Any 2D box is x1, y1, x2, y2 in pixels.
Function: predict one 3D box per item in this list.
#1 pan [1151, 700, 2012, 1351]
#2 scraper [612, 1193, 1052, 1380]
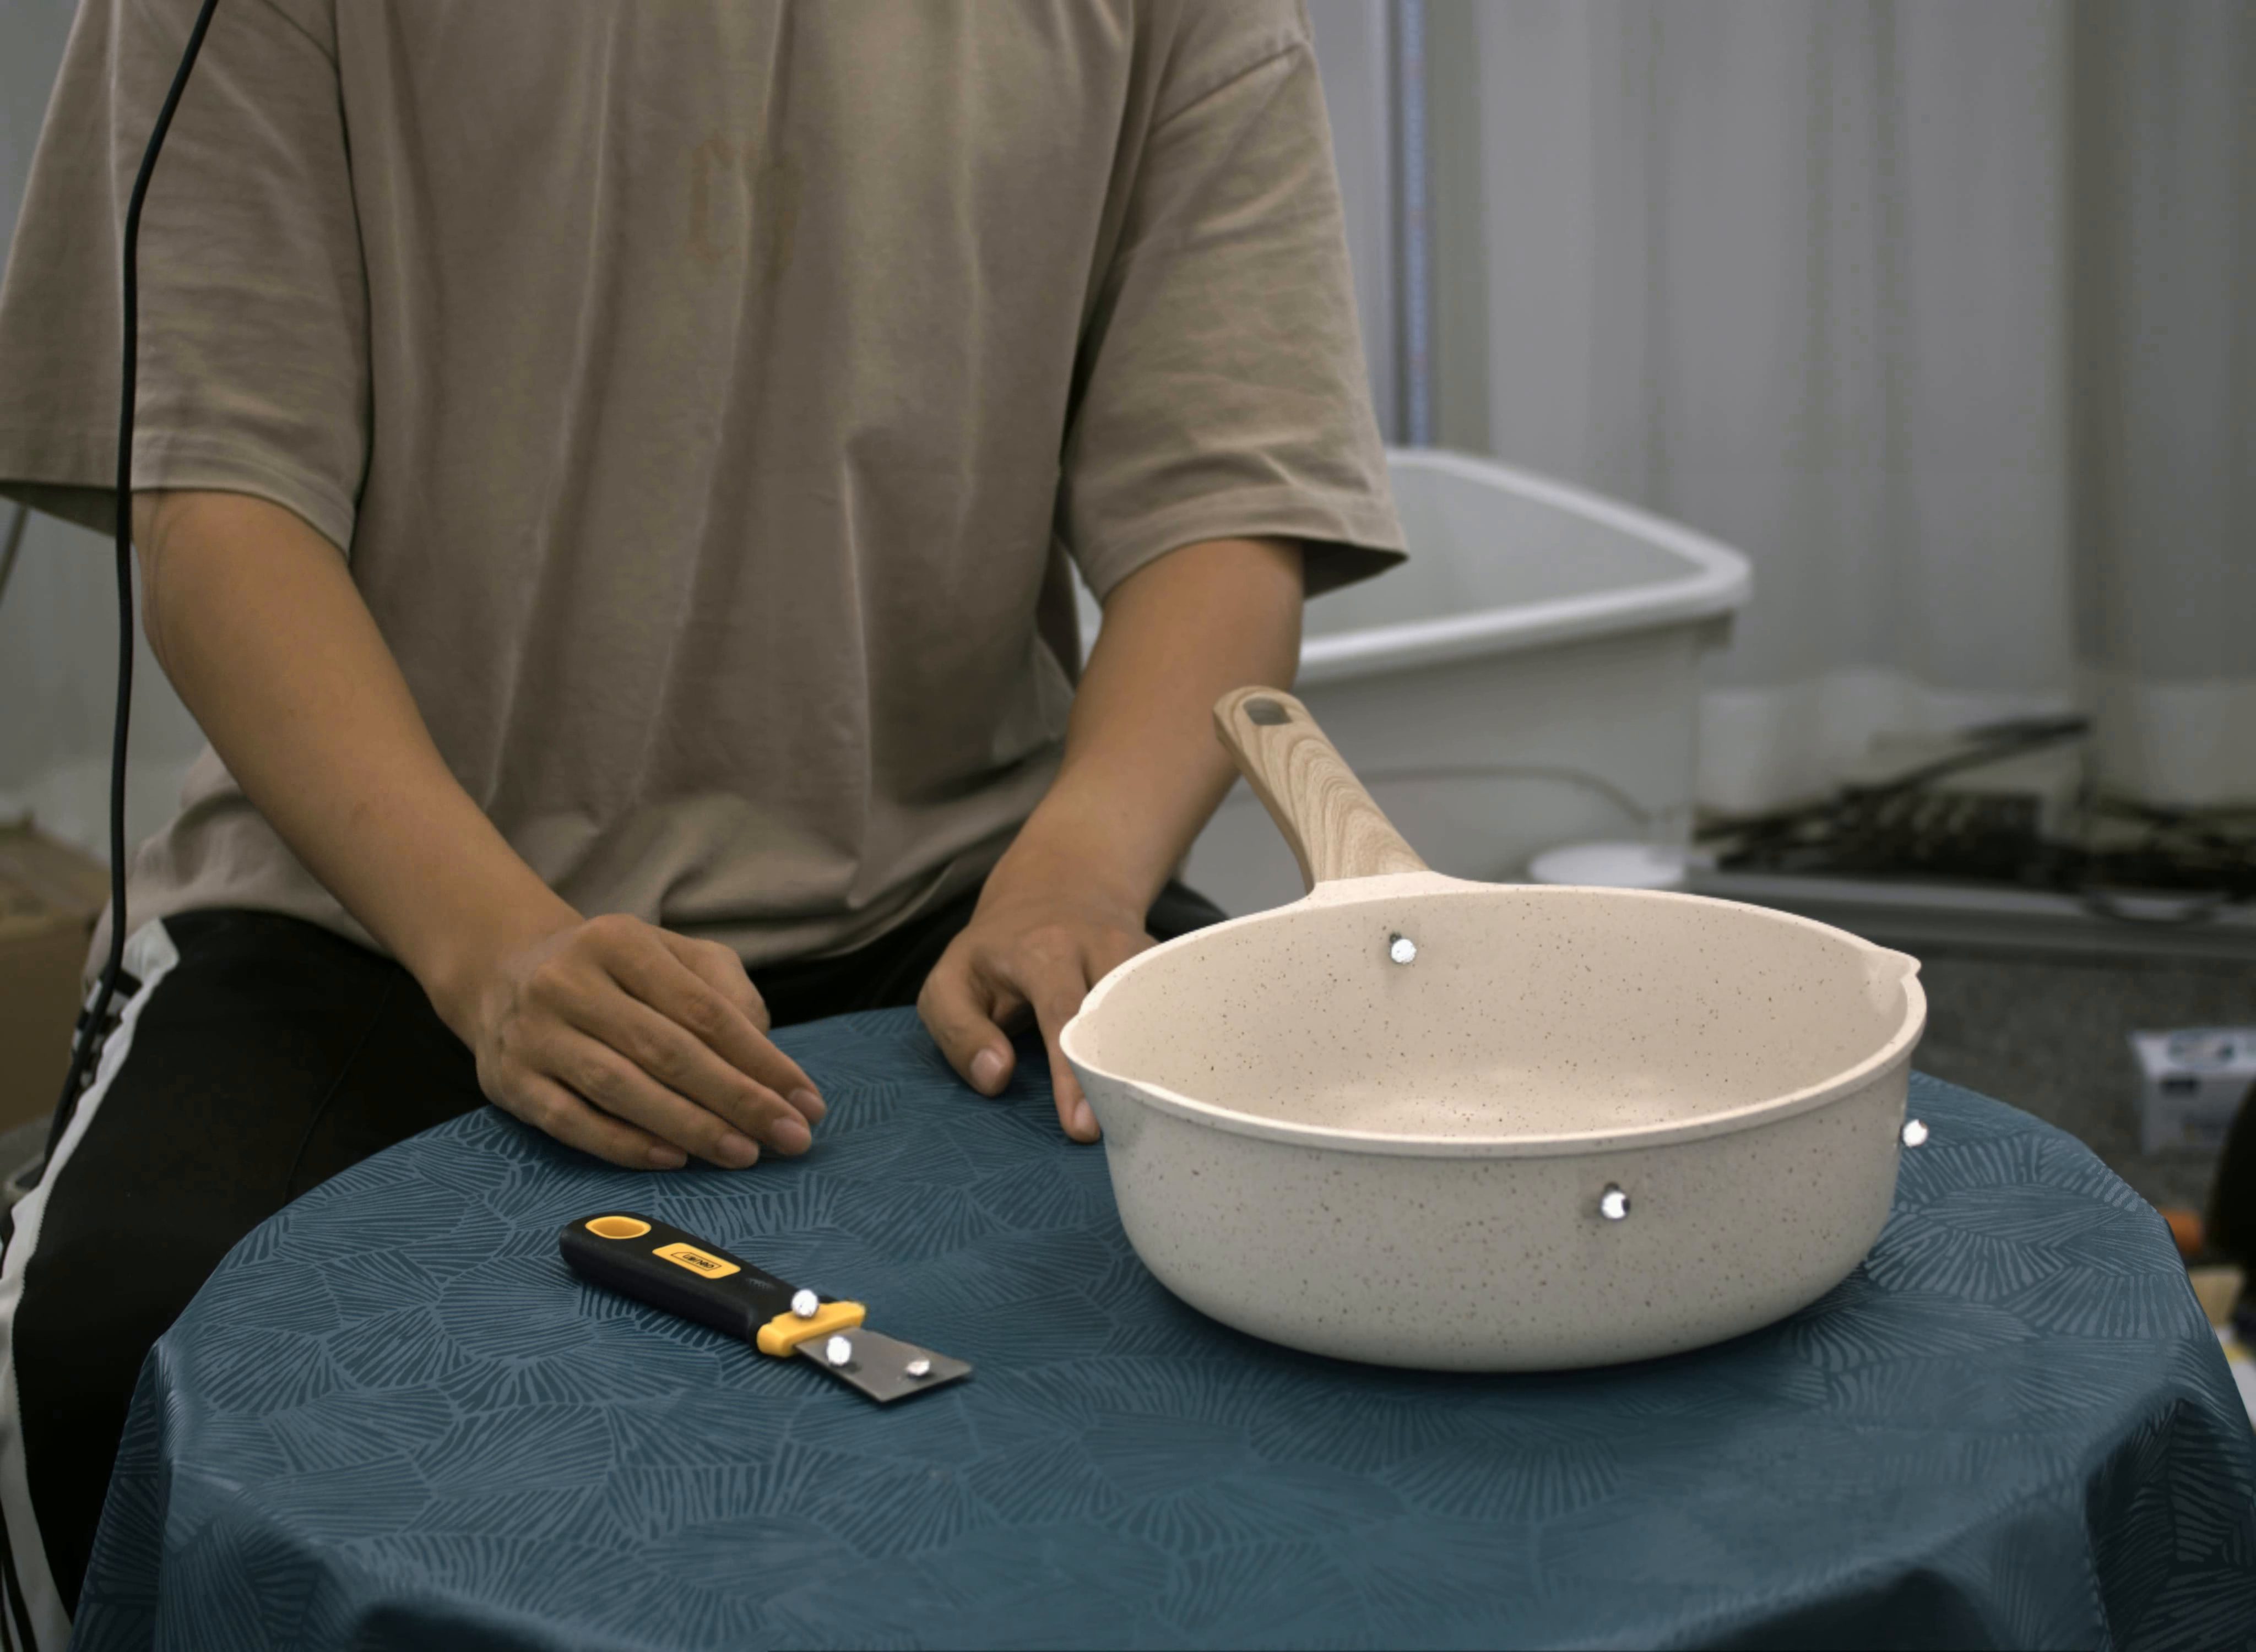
[{"bbox_3d":[0.117,0.056,1.715,0.262,0.101,0.438,-8,15,-11],"label":"pan"},{"bbox_3d":[-0.092,0.135,1.608,0.039,0.015,0.172,-21,25,-39],"label":"scraper"}]
